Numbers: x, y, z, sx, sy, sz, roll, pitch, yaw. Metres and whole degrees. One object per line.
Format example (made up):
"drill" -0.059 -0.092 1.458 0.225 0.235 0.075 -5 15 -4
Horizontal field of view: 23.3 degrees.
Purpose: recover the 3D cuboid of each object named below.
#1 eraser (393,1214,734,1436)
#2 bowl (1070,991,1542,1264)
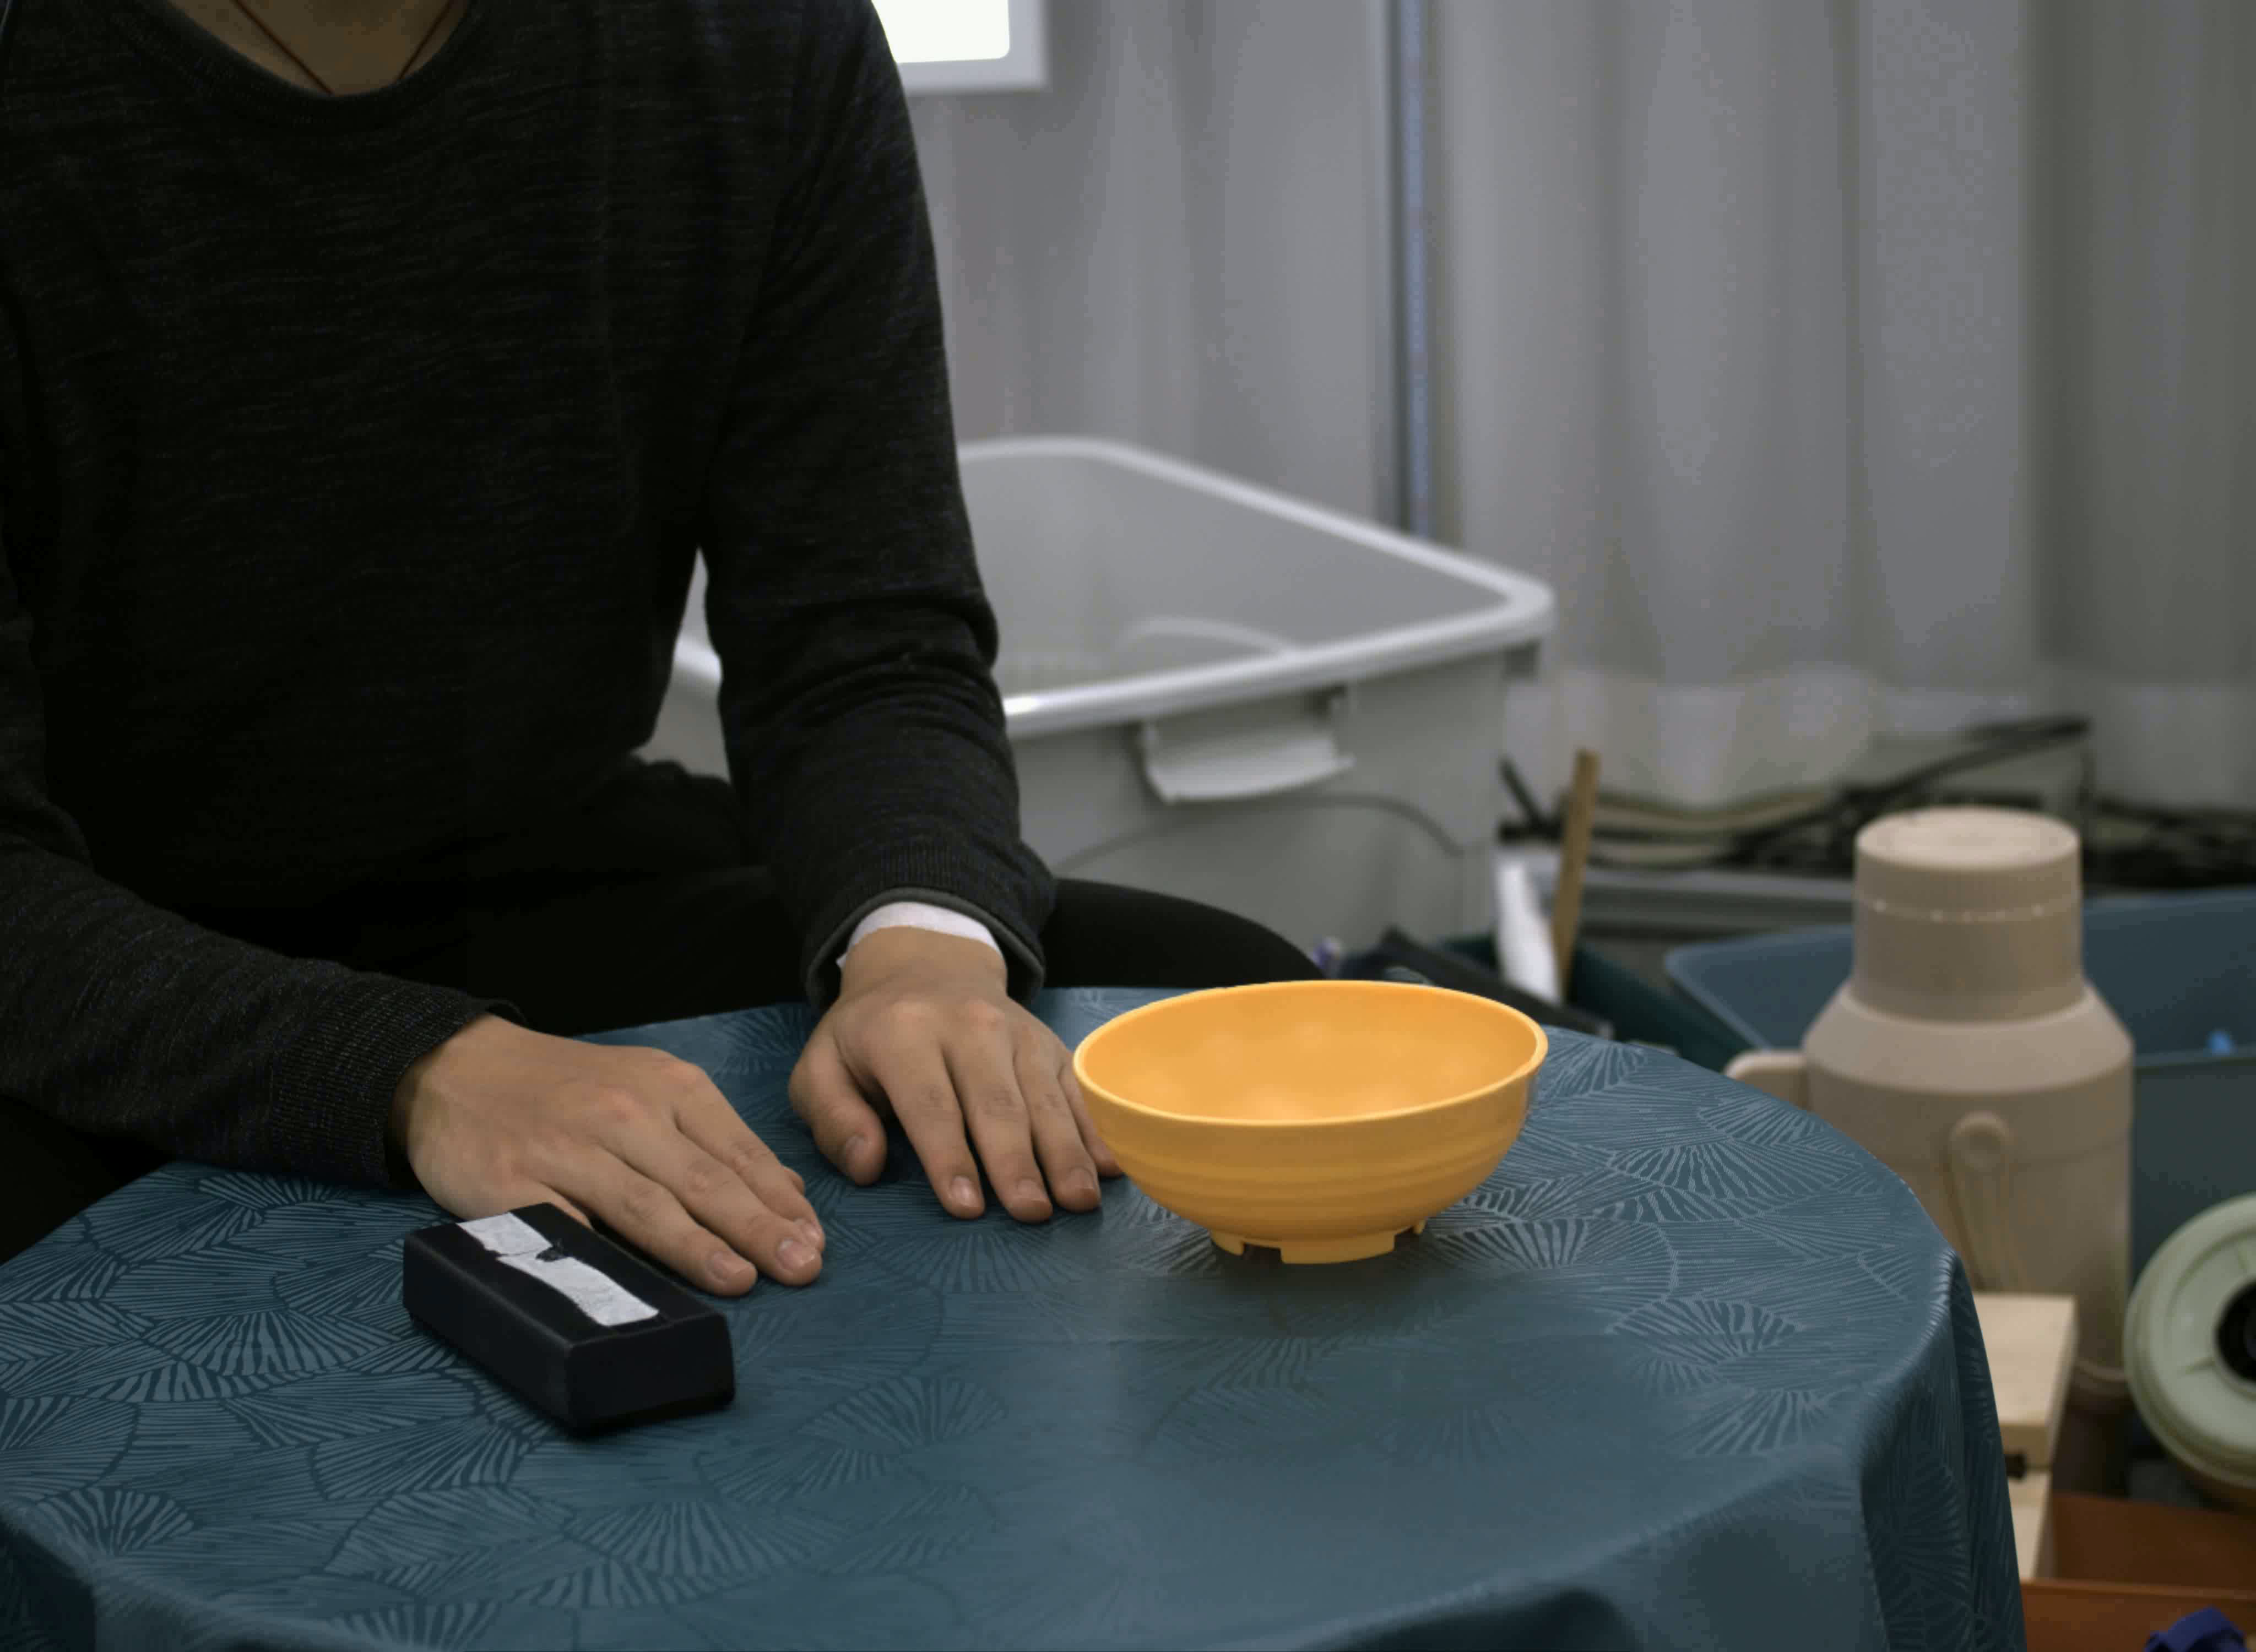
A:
"eraser" -0.164 0.143 1.583 0.053 0.030 0.126 -7 15 -30
"bowl" 0.054 0.096 1.662 0.145 0.060 0.146 -1 13 0
